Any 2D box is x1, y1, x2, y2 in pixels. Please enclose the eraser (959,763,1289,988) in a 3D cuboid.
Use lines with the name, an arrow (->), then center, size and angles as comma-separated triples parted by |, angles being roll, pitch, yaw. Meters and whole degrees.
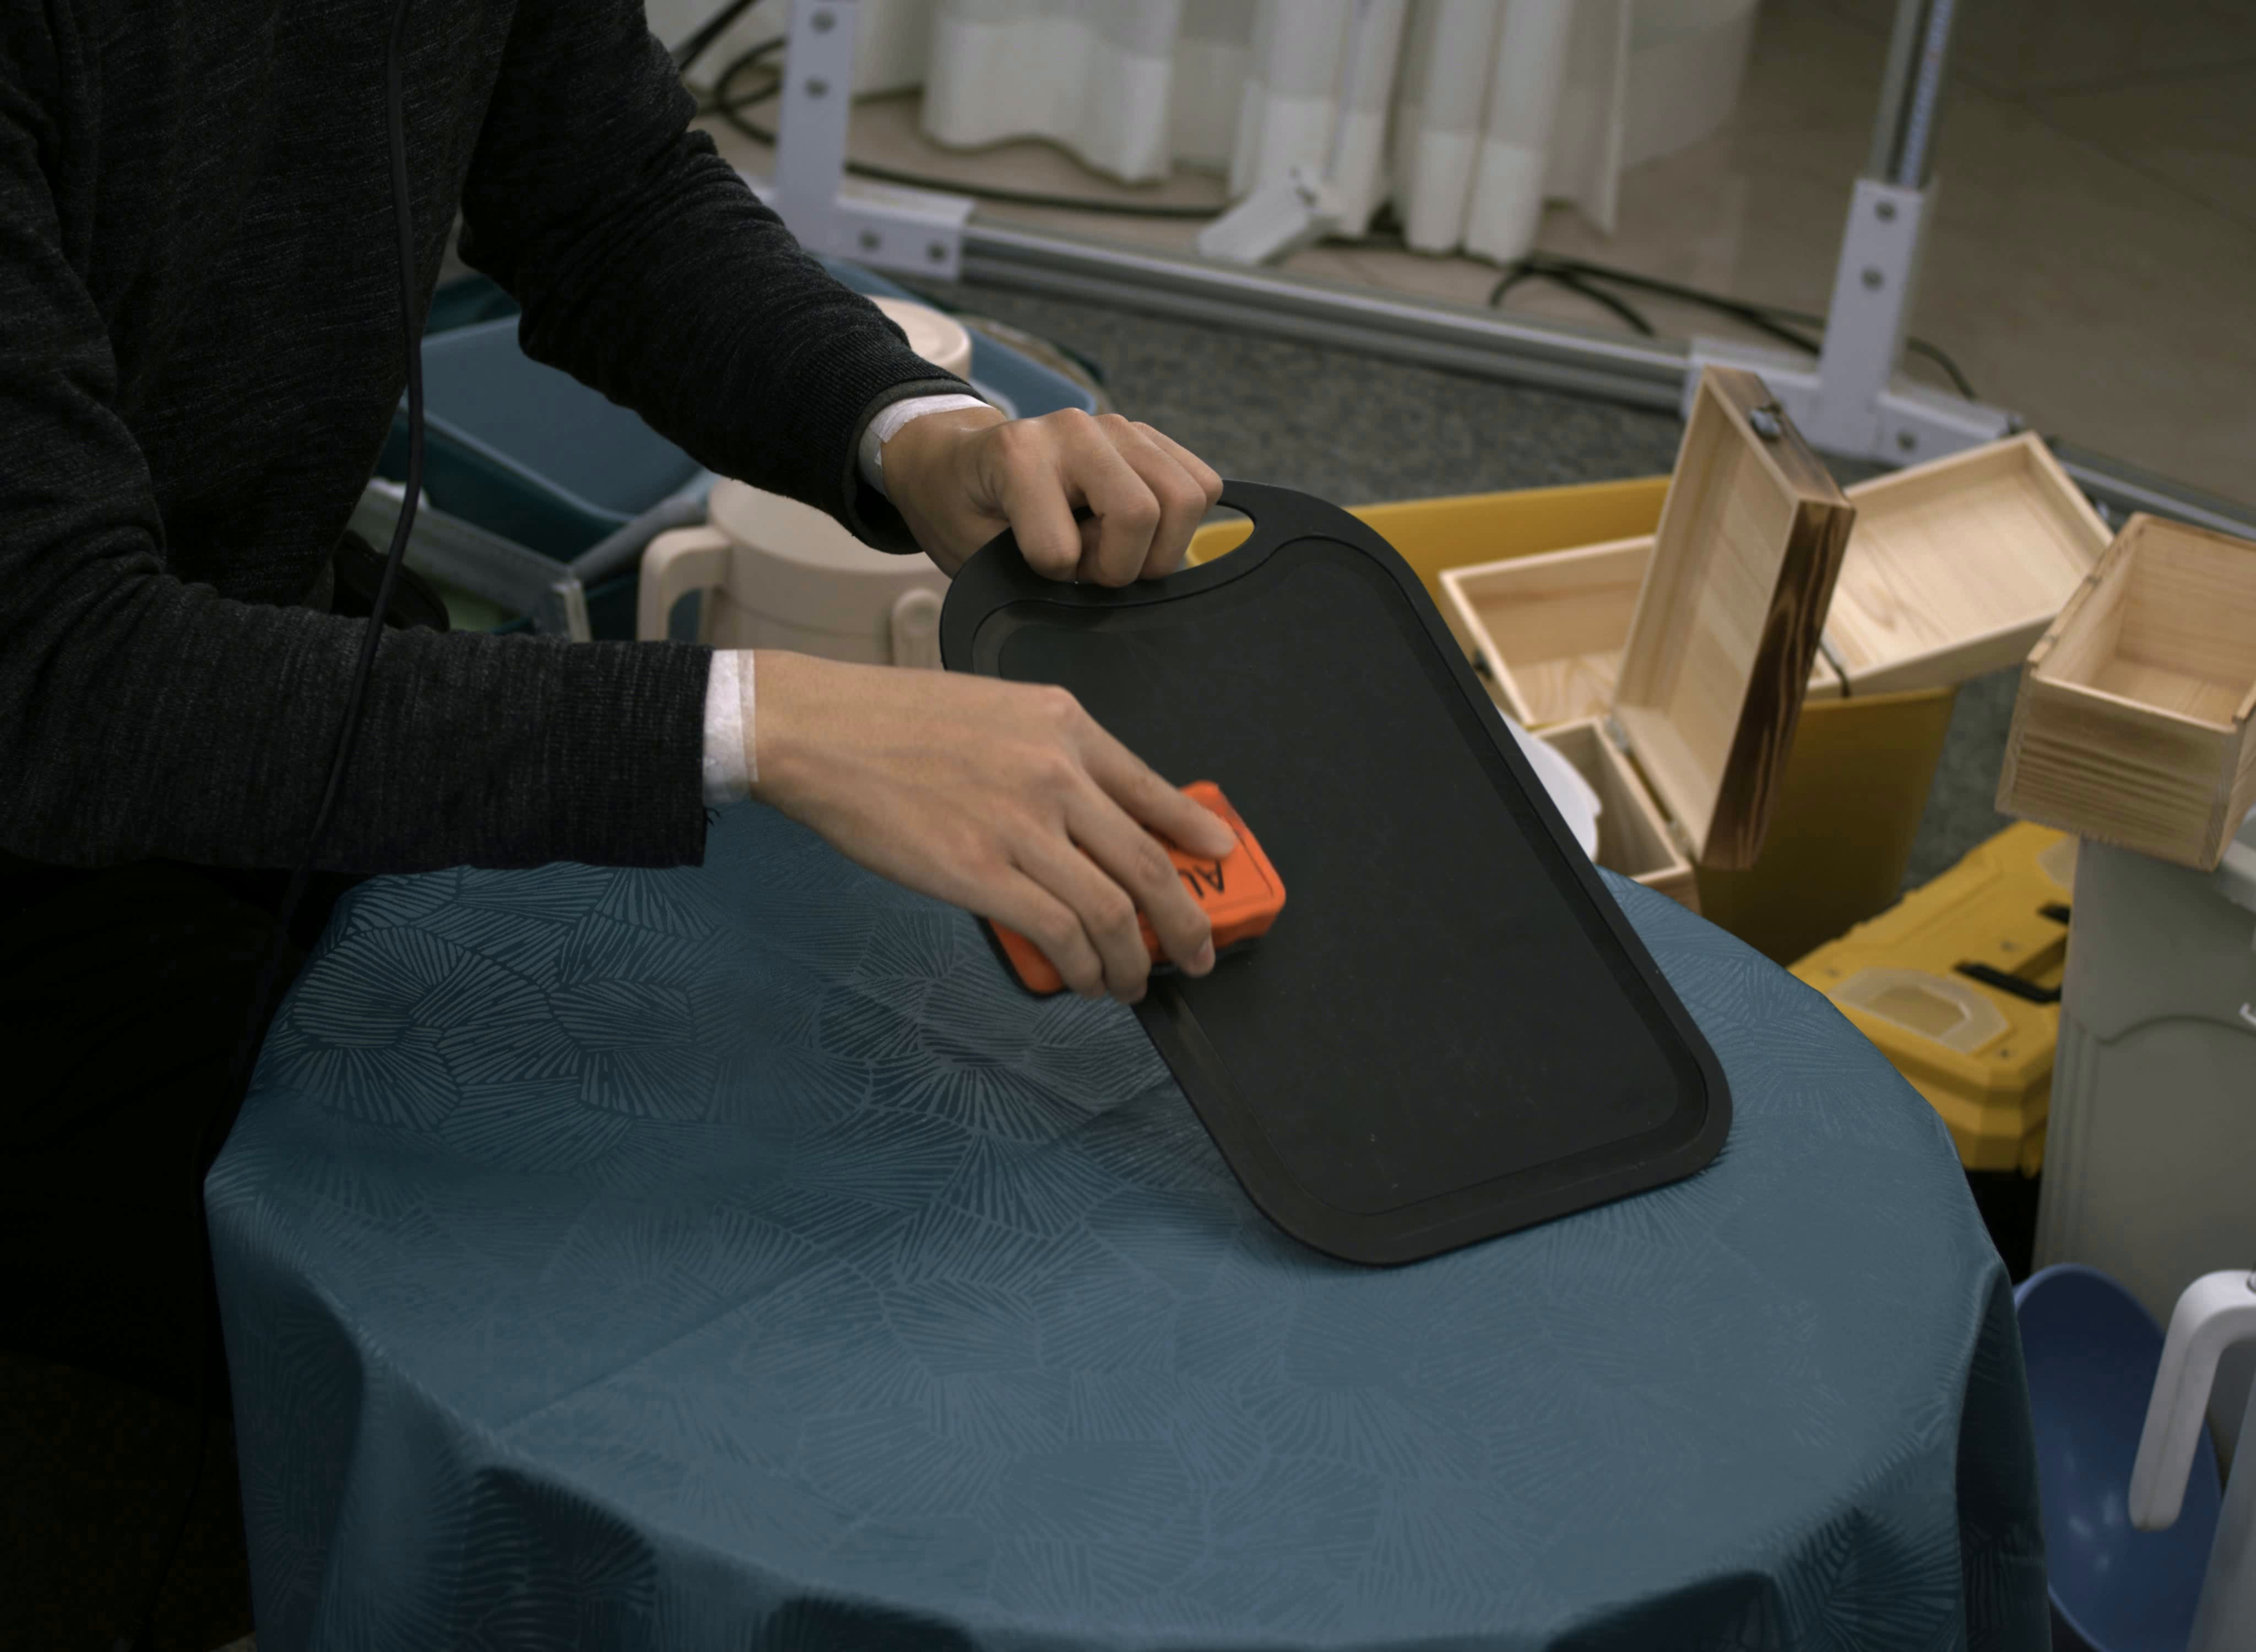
eraser -> -0.001, 0.016, 1.822 | 0.107, 0.023, 0.059 | -17, 57, -33

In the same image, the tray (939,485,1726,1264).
tray -> 0.068, 0.006, 1.878 | 0.210, 0.010, 0.328 | -12, 60, -33
